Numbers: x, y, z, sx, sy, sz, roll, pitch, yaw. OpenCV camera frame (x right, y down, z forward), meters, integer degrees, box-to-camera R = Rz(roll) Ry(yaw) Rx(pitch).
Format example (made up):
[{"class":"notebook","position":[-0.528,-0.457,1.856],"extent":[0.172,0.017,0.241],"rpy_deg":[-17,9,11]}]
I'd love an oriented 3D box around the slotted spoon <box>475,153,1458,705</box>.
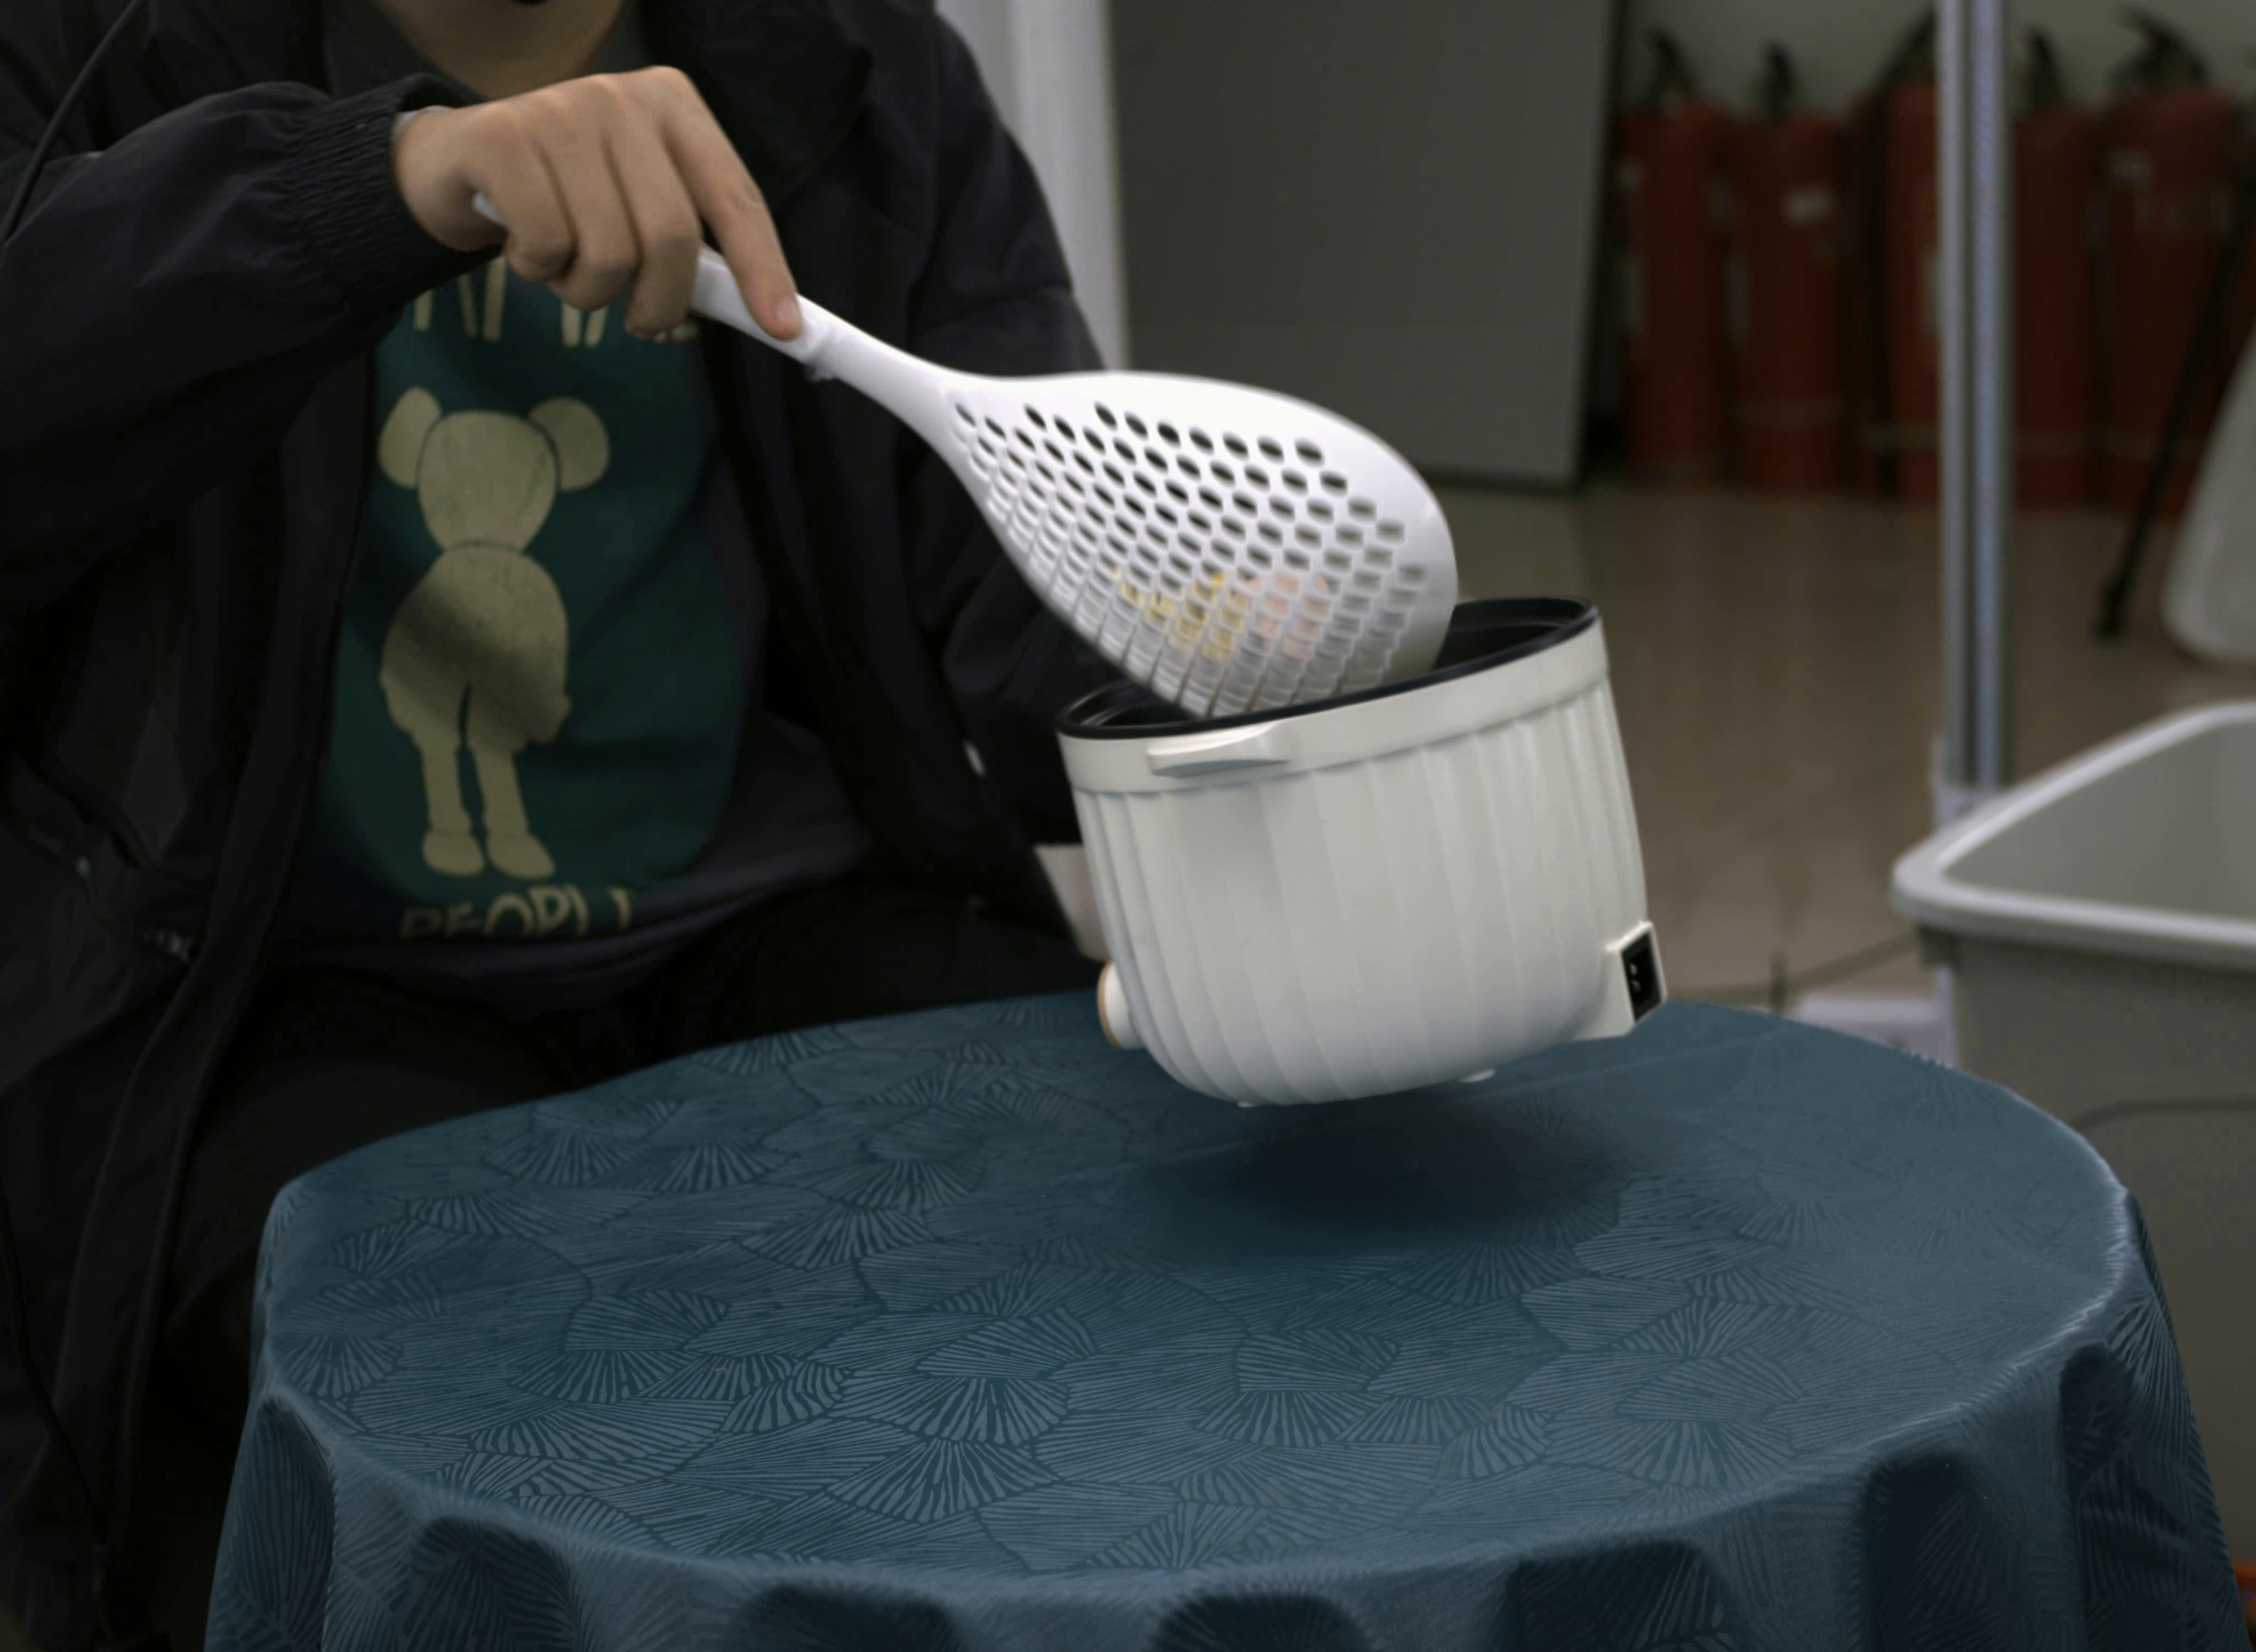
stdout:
[{"class":"slotted spoon","position":[-0.056,-0.129,1.754],"extent":[0.347,0.138,0.050],"rpy_deg":[31,40,7]}]

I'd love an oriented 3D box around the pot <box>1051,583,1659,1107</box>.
[{"class":"pot","position":[0.070,0.009,1.757],"extent":[0.191,0.144,0.237],"rpy_deg":[-6,9,26]}]
